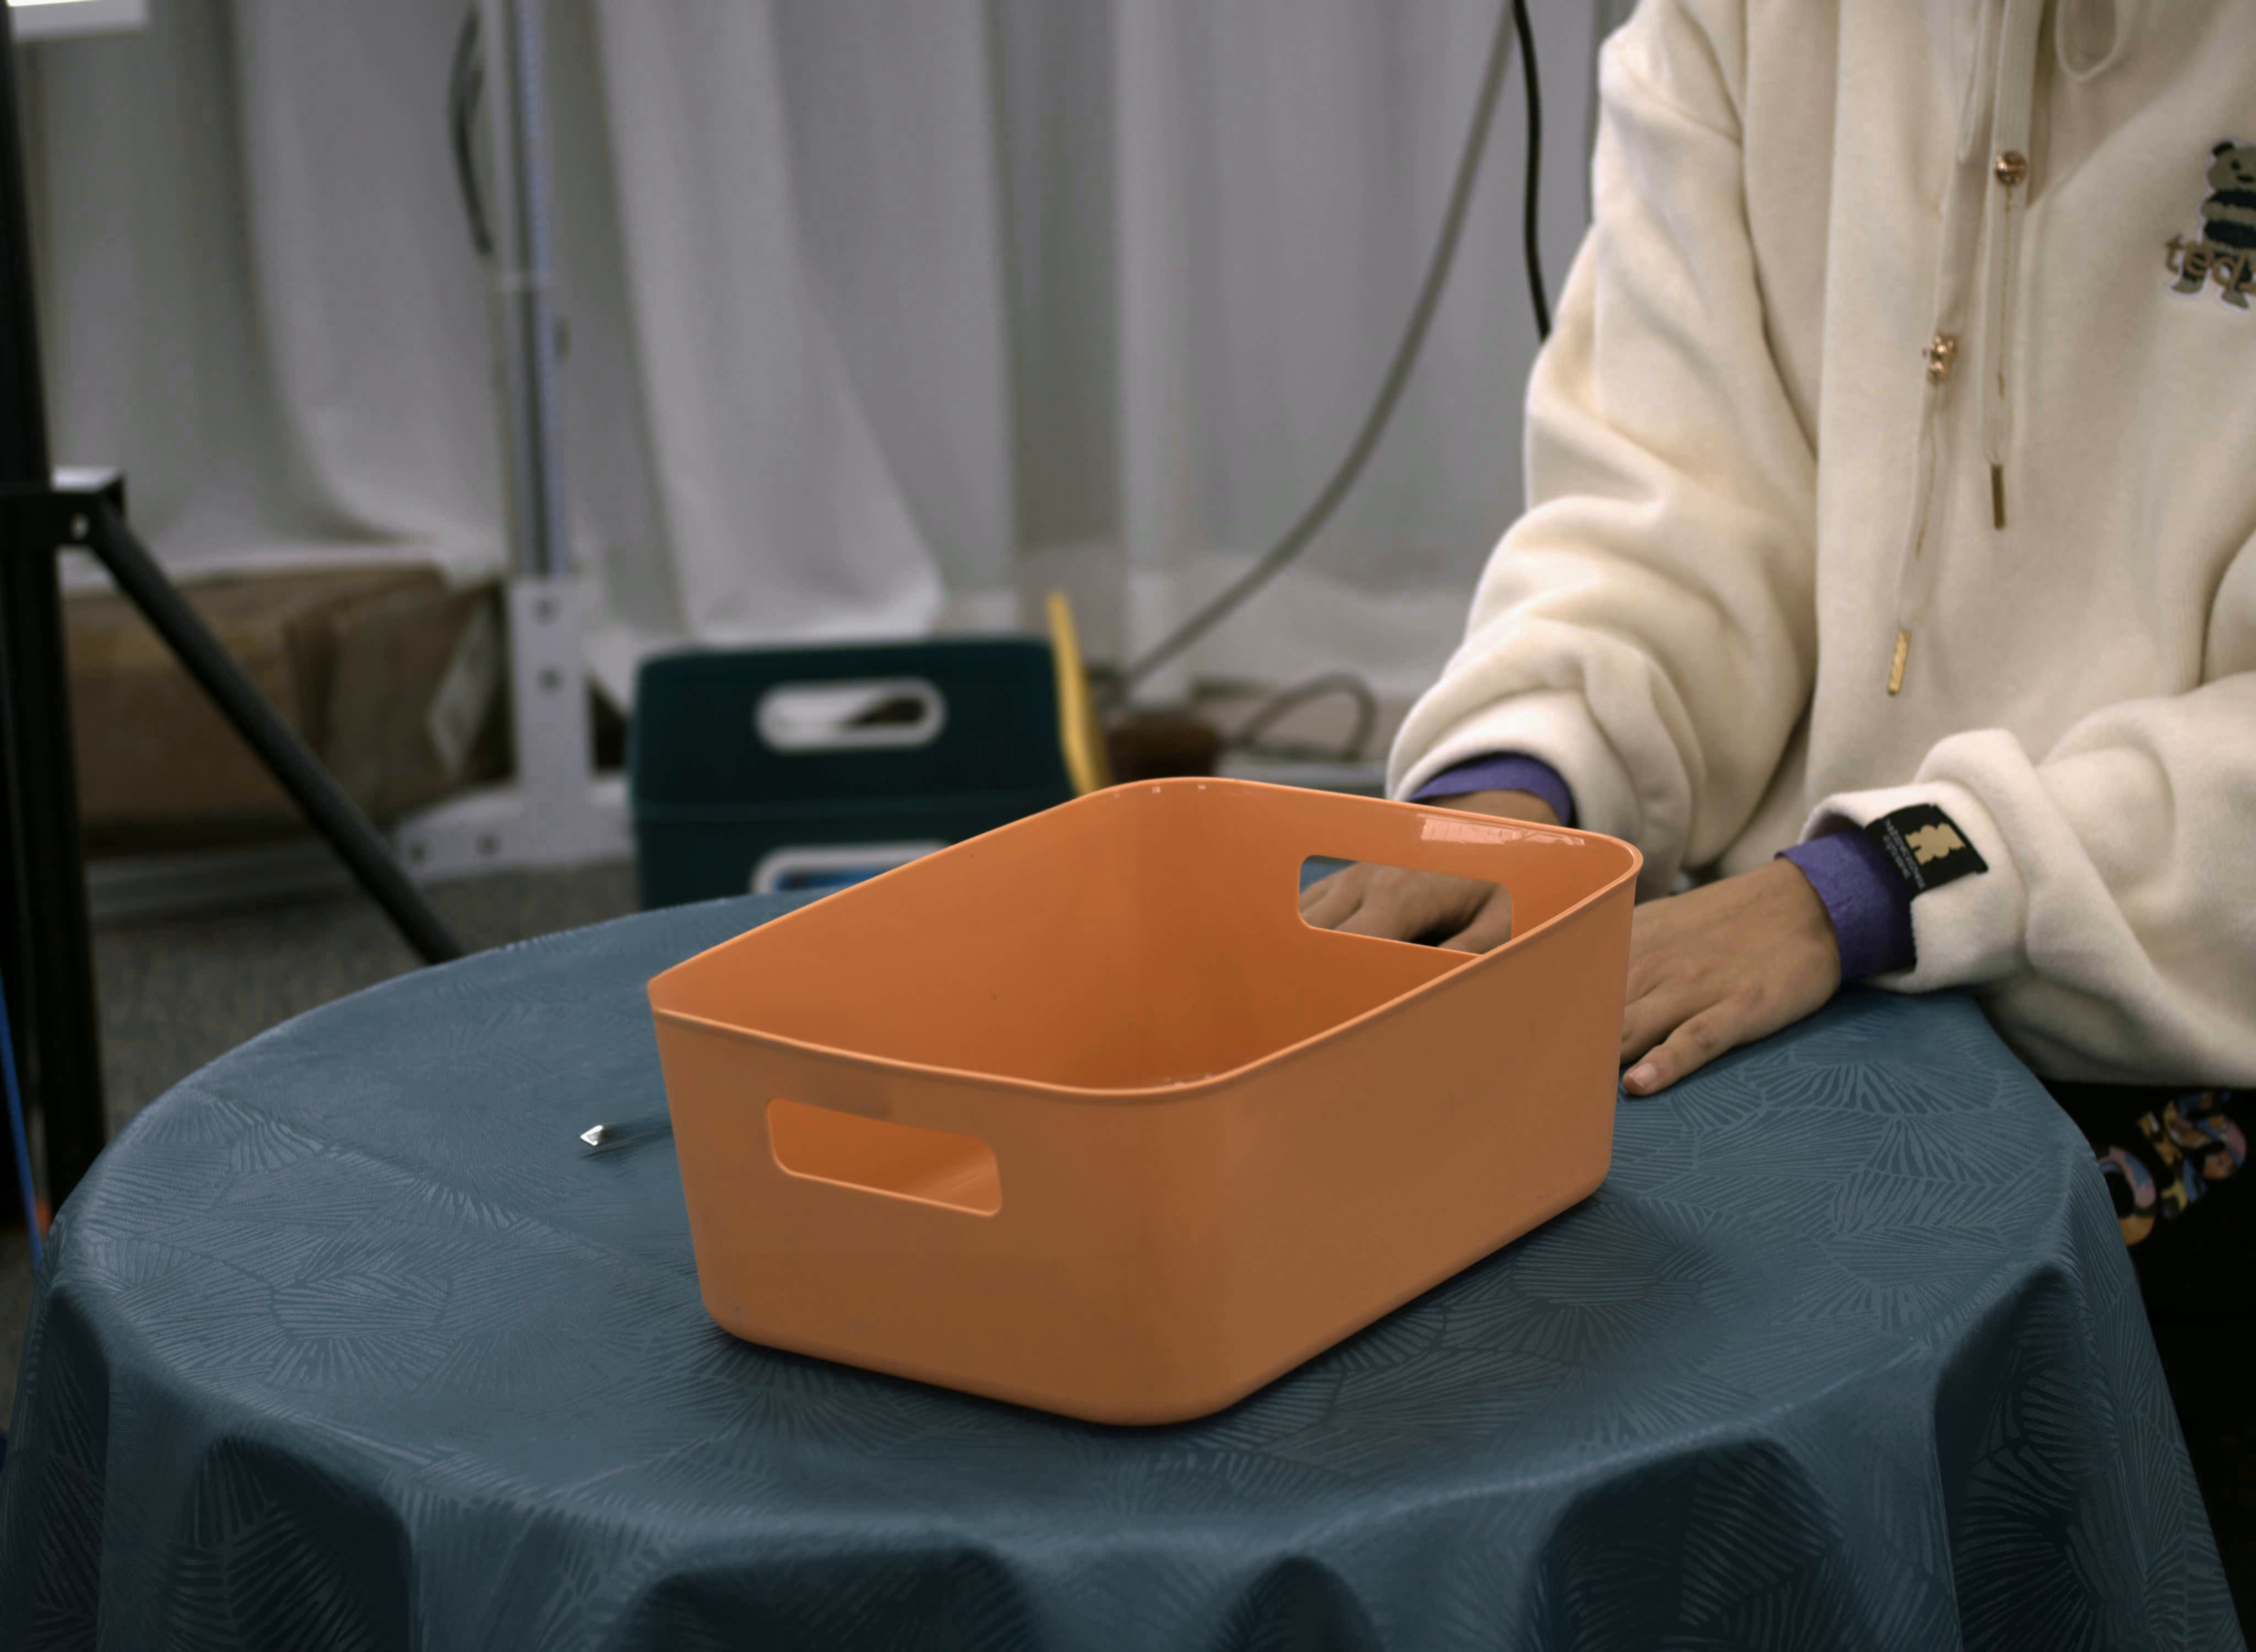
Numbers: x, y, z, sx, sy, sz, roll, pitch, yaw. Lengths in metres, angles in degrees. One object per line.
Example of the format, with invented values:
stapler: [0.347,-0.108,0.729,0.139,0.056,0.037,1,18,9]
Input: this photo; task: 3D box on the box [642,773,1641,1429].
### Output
box: [0.011,0.073,1.488,0.203,0.102,0.268,8,19,35]

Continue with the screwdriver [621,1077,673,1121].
screwdriver: [-0.085,0.055,1.674,0.032,0.031,0.194,11,29,38]
